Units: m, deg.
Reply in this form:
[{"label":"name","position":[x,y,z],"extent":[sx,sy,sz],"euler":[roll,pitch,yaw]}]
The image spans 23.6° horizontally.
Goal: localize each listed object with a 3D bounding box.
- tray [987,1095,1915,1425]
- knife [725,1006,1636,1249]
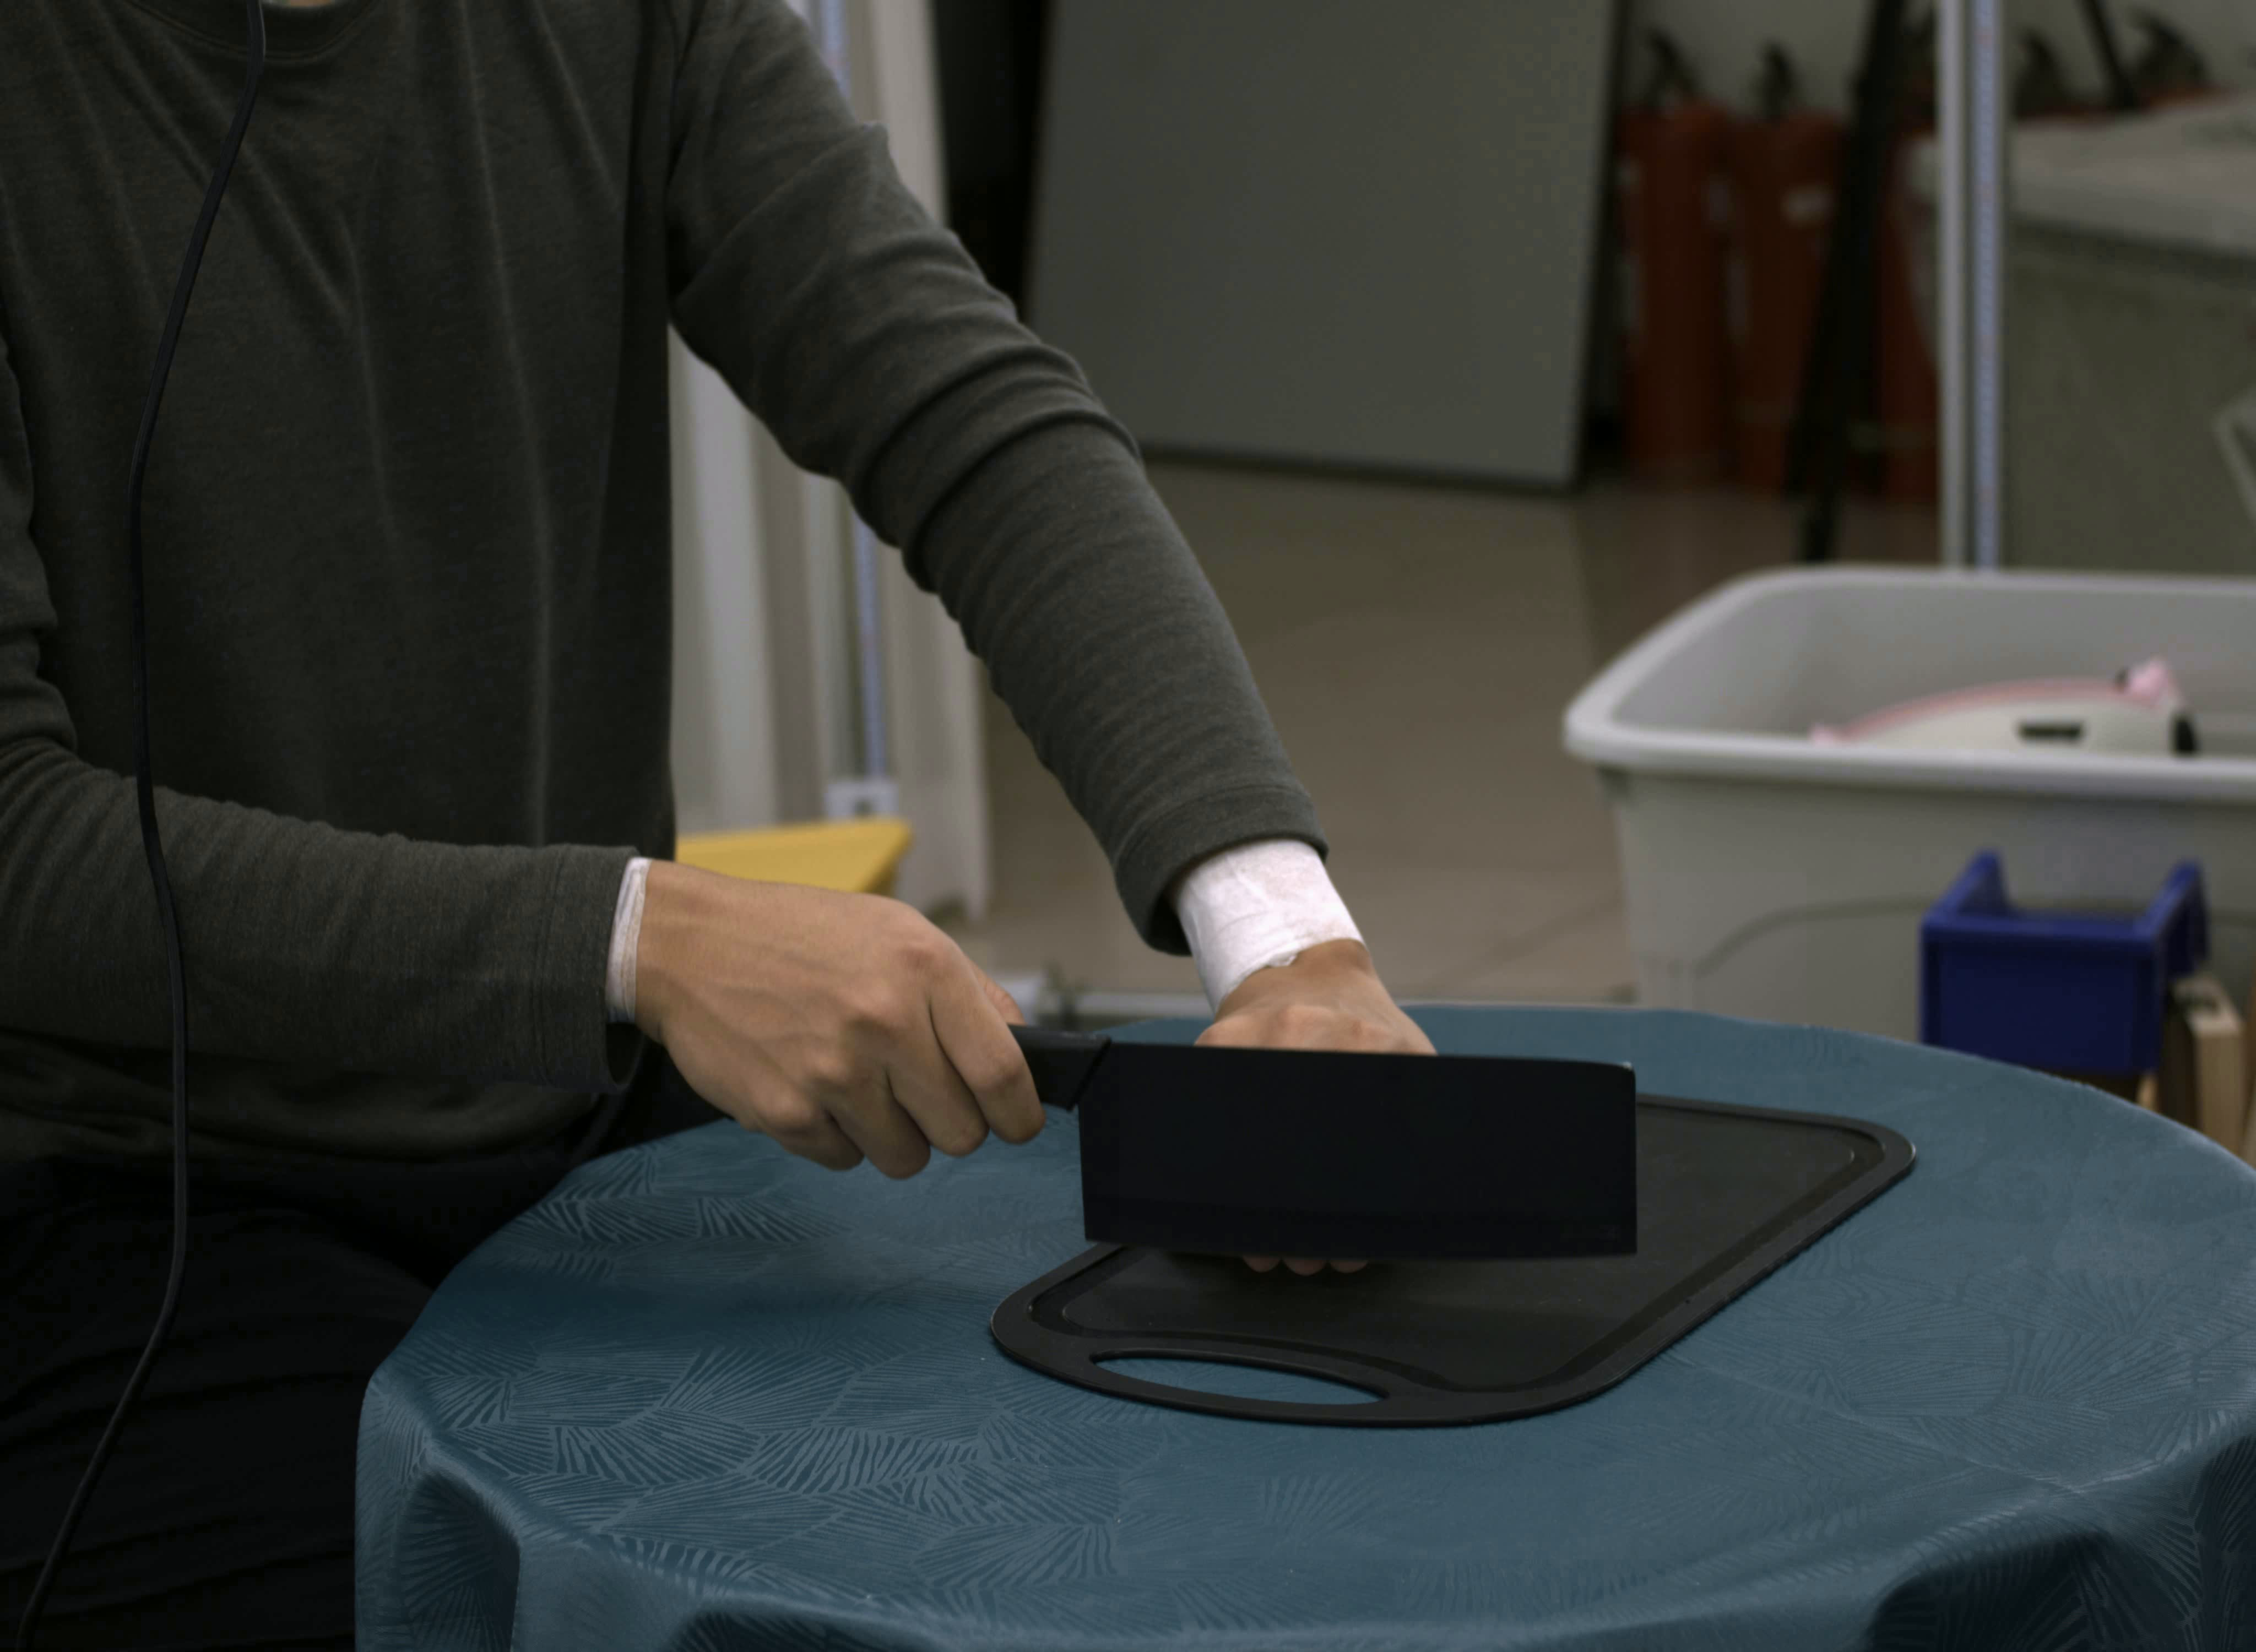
[{"label":"tray","position":[0.103,0.131,1.693],"extent":[0.212,0.010,0.320],"euler":[4,16,33]},{"label":"knife","position":[0.014,0.091,1.666],"extent":[0.302,0.082,0.020],"euler":[5,9,21]}]
